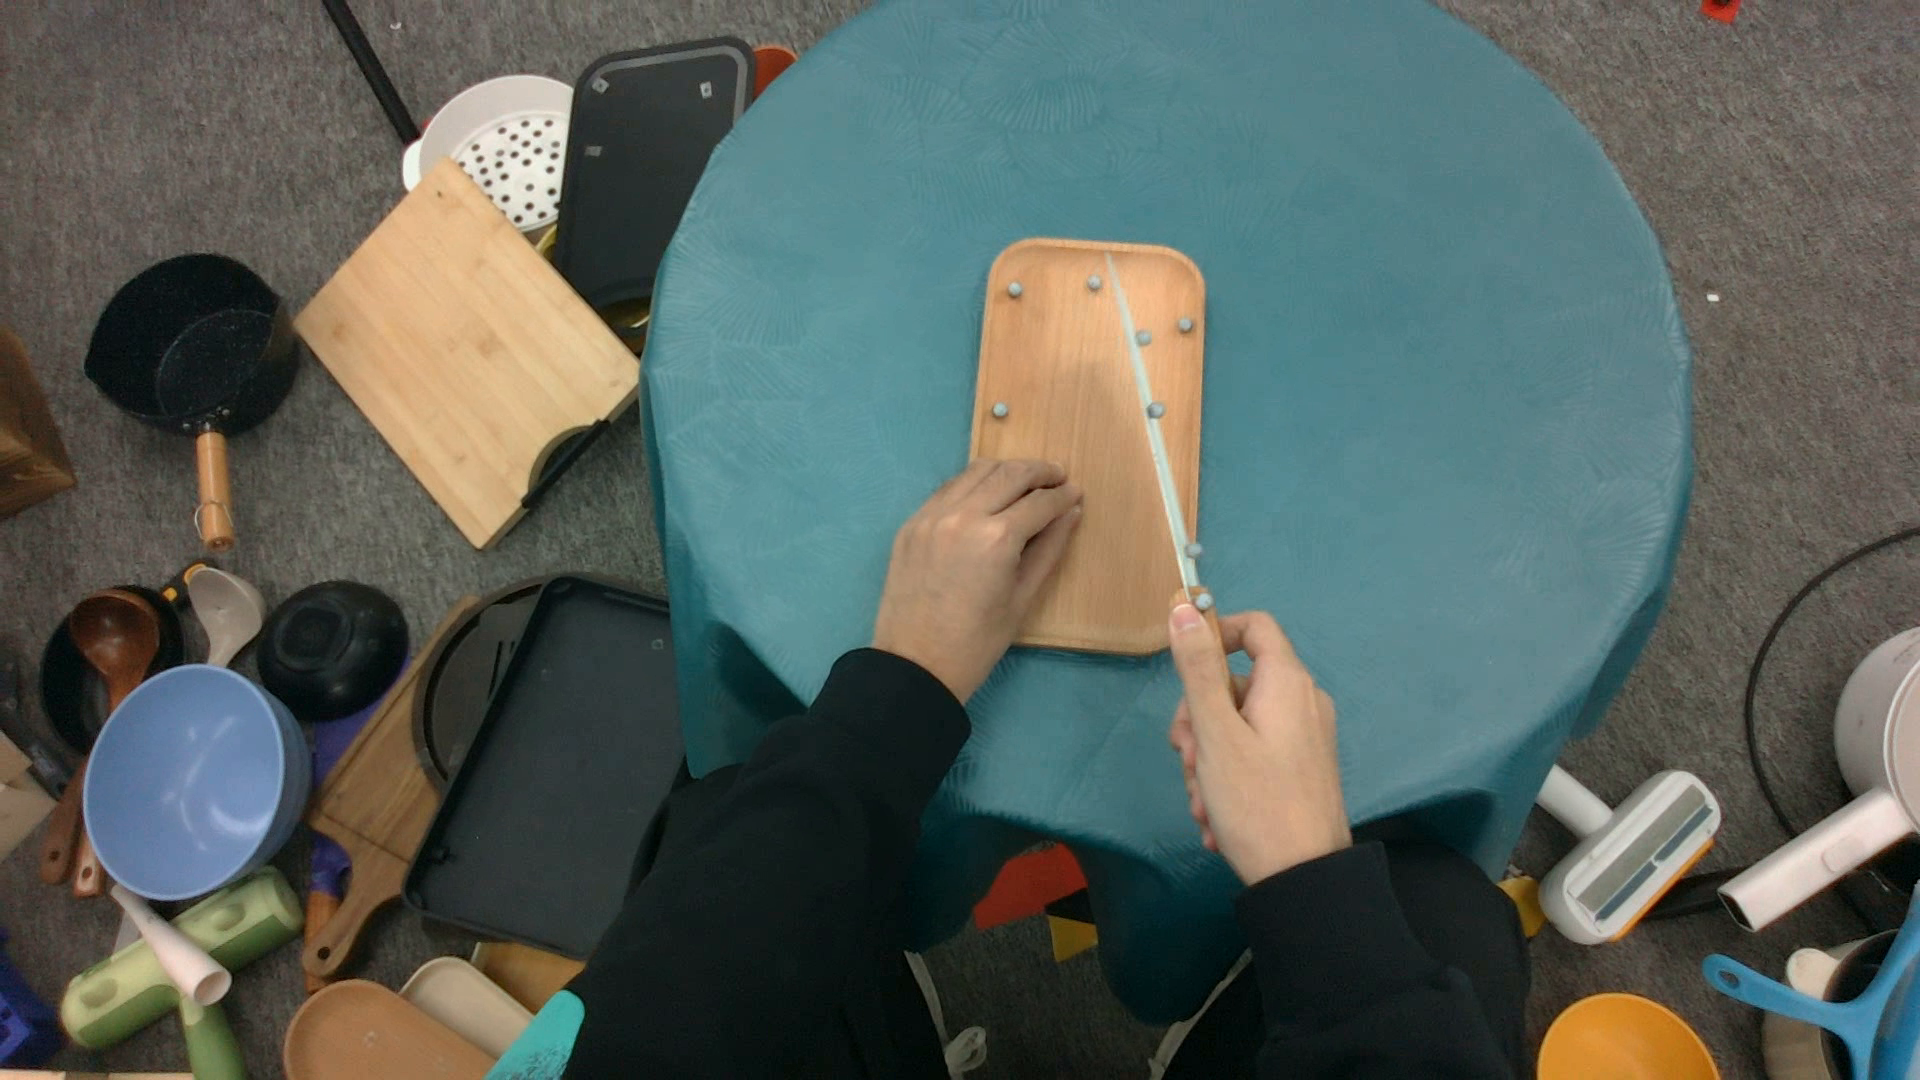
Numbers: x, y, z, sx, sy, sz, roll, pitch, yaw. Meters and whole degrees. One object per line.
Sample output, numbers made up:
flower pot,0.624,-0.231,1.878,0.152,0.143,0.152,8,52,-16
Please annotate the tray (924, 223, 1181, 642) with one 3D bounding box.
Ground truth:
tray,0.055,-0.065,0.769,0.130,0.023,0.251,5,69,5

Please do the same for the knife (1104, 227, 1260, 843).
knife,0.105,-0.005,0.668,0.021,0.093,0.306,-14,70,14
